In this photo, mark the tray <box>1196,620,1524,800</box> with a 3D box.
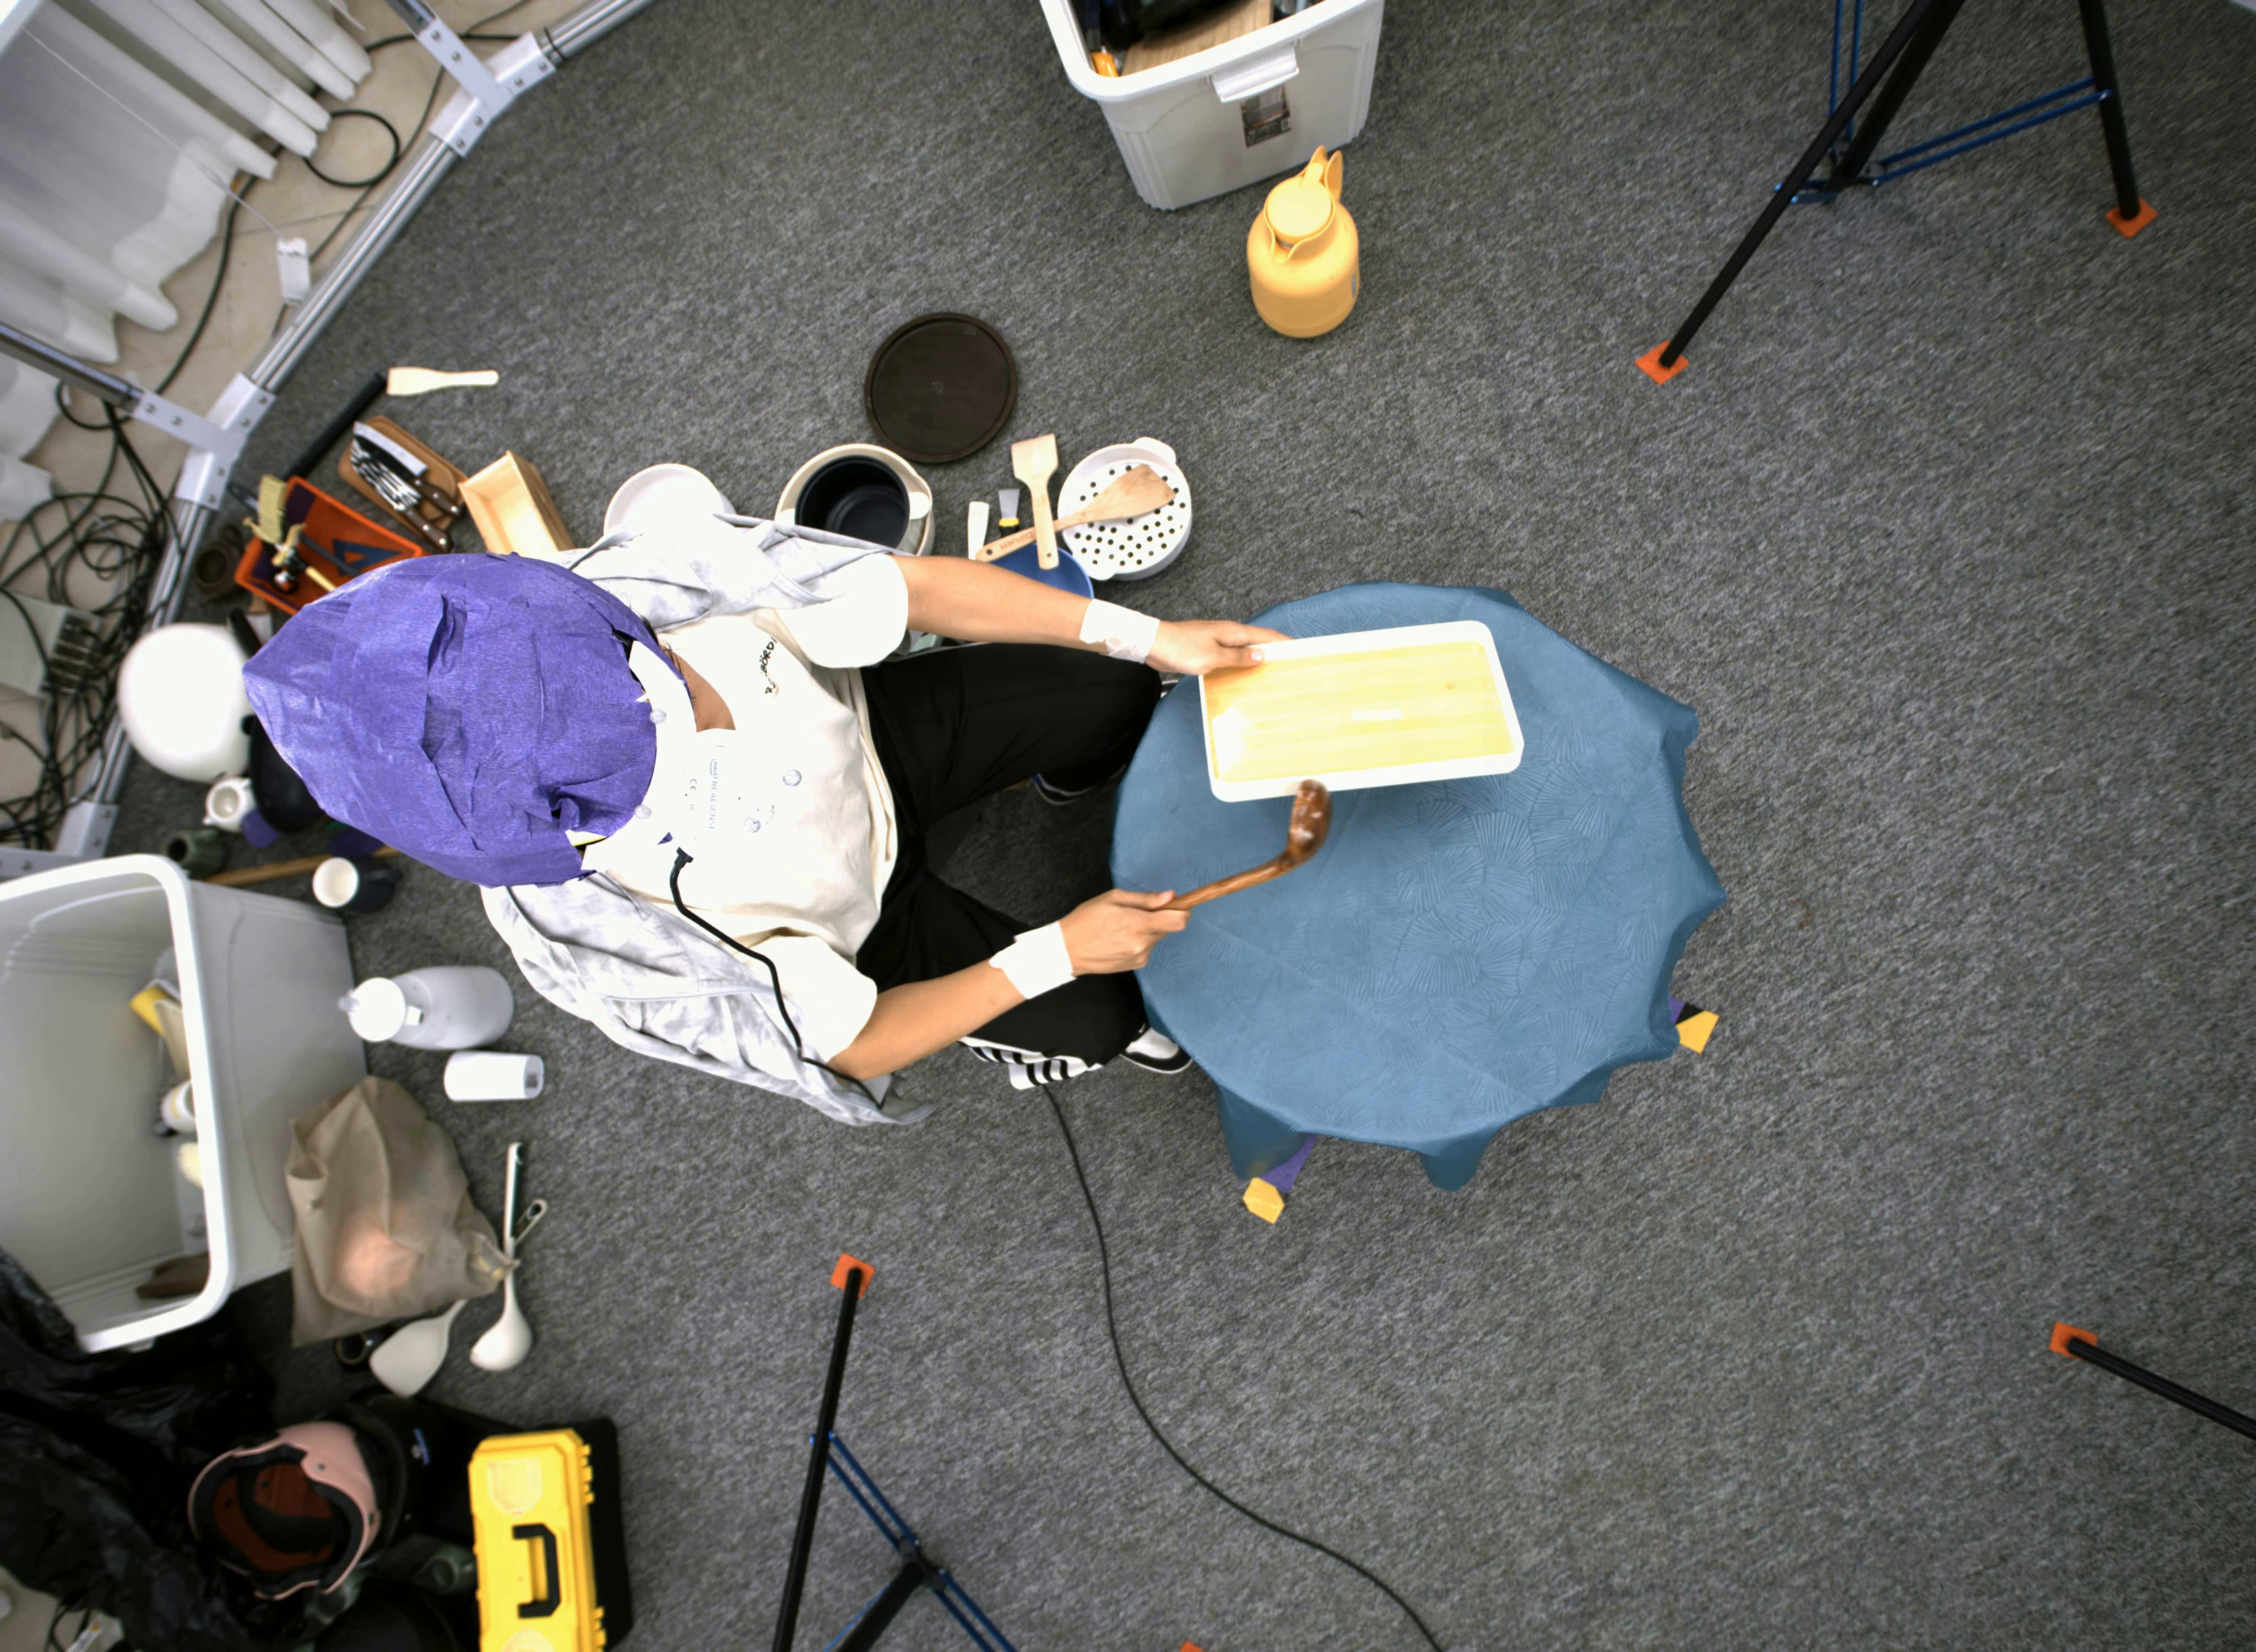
[{"bbox_3d":[0.223,-0.119,1.361,0.301,0.028,0.186,-6,52,5],"label":"tray"}]

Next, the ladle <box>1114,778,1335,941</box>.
[{"bbox_3d":[0.082,0.034,1.341,0.278,0.080,0.077,-24,94,31],"label":"ladle"}]
